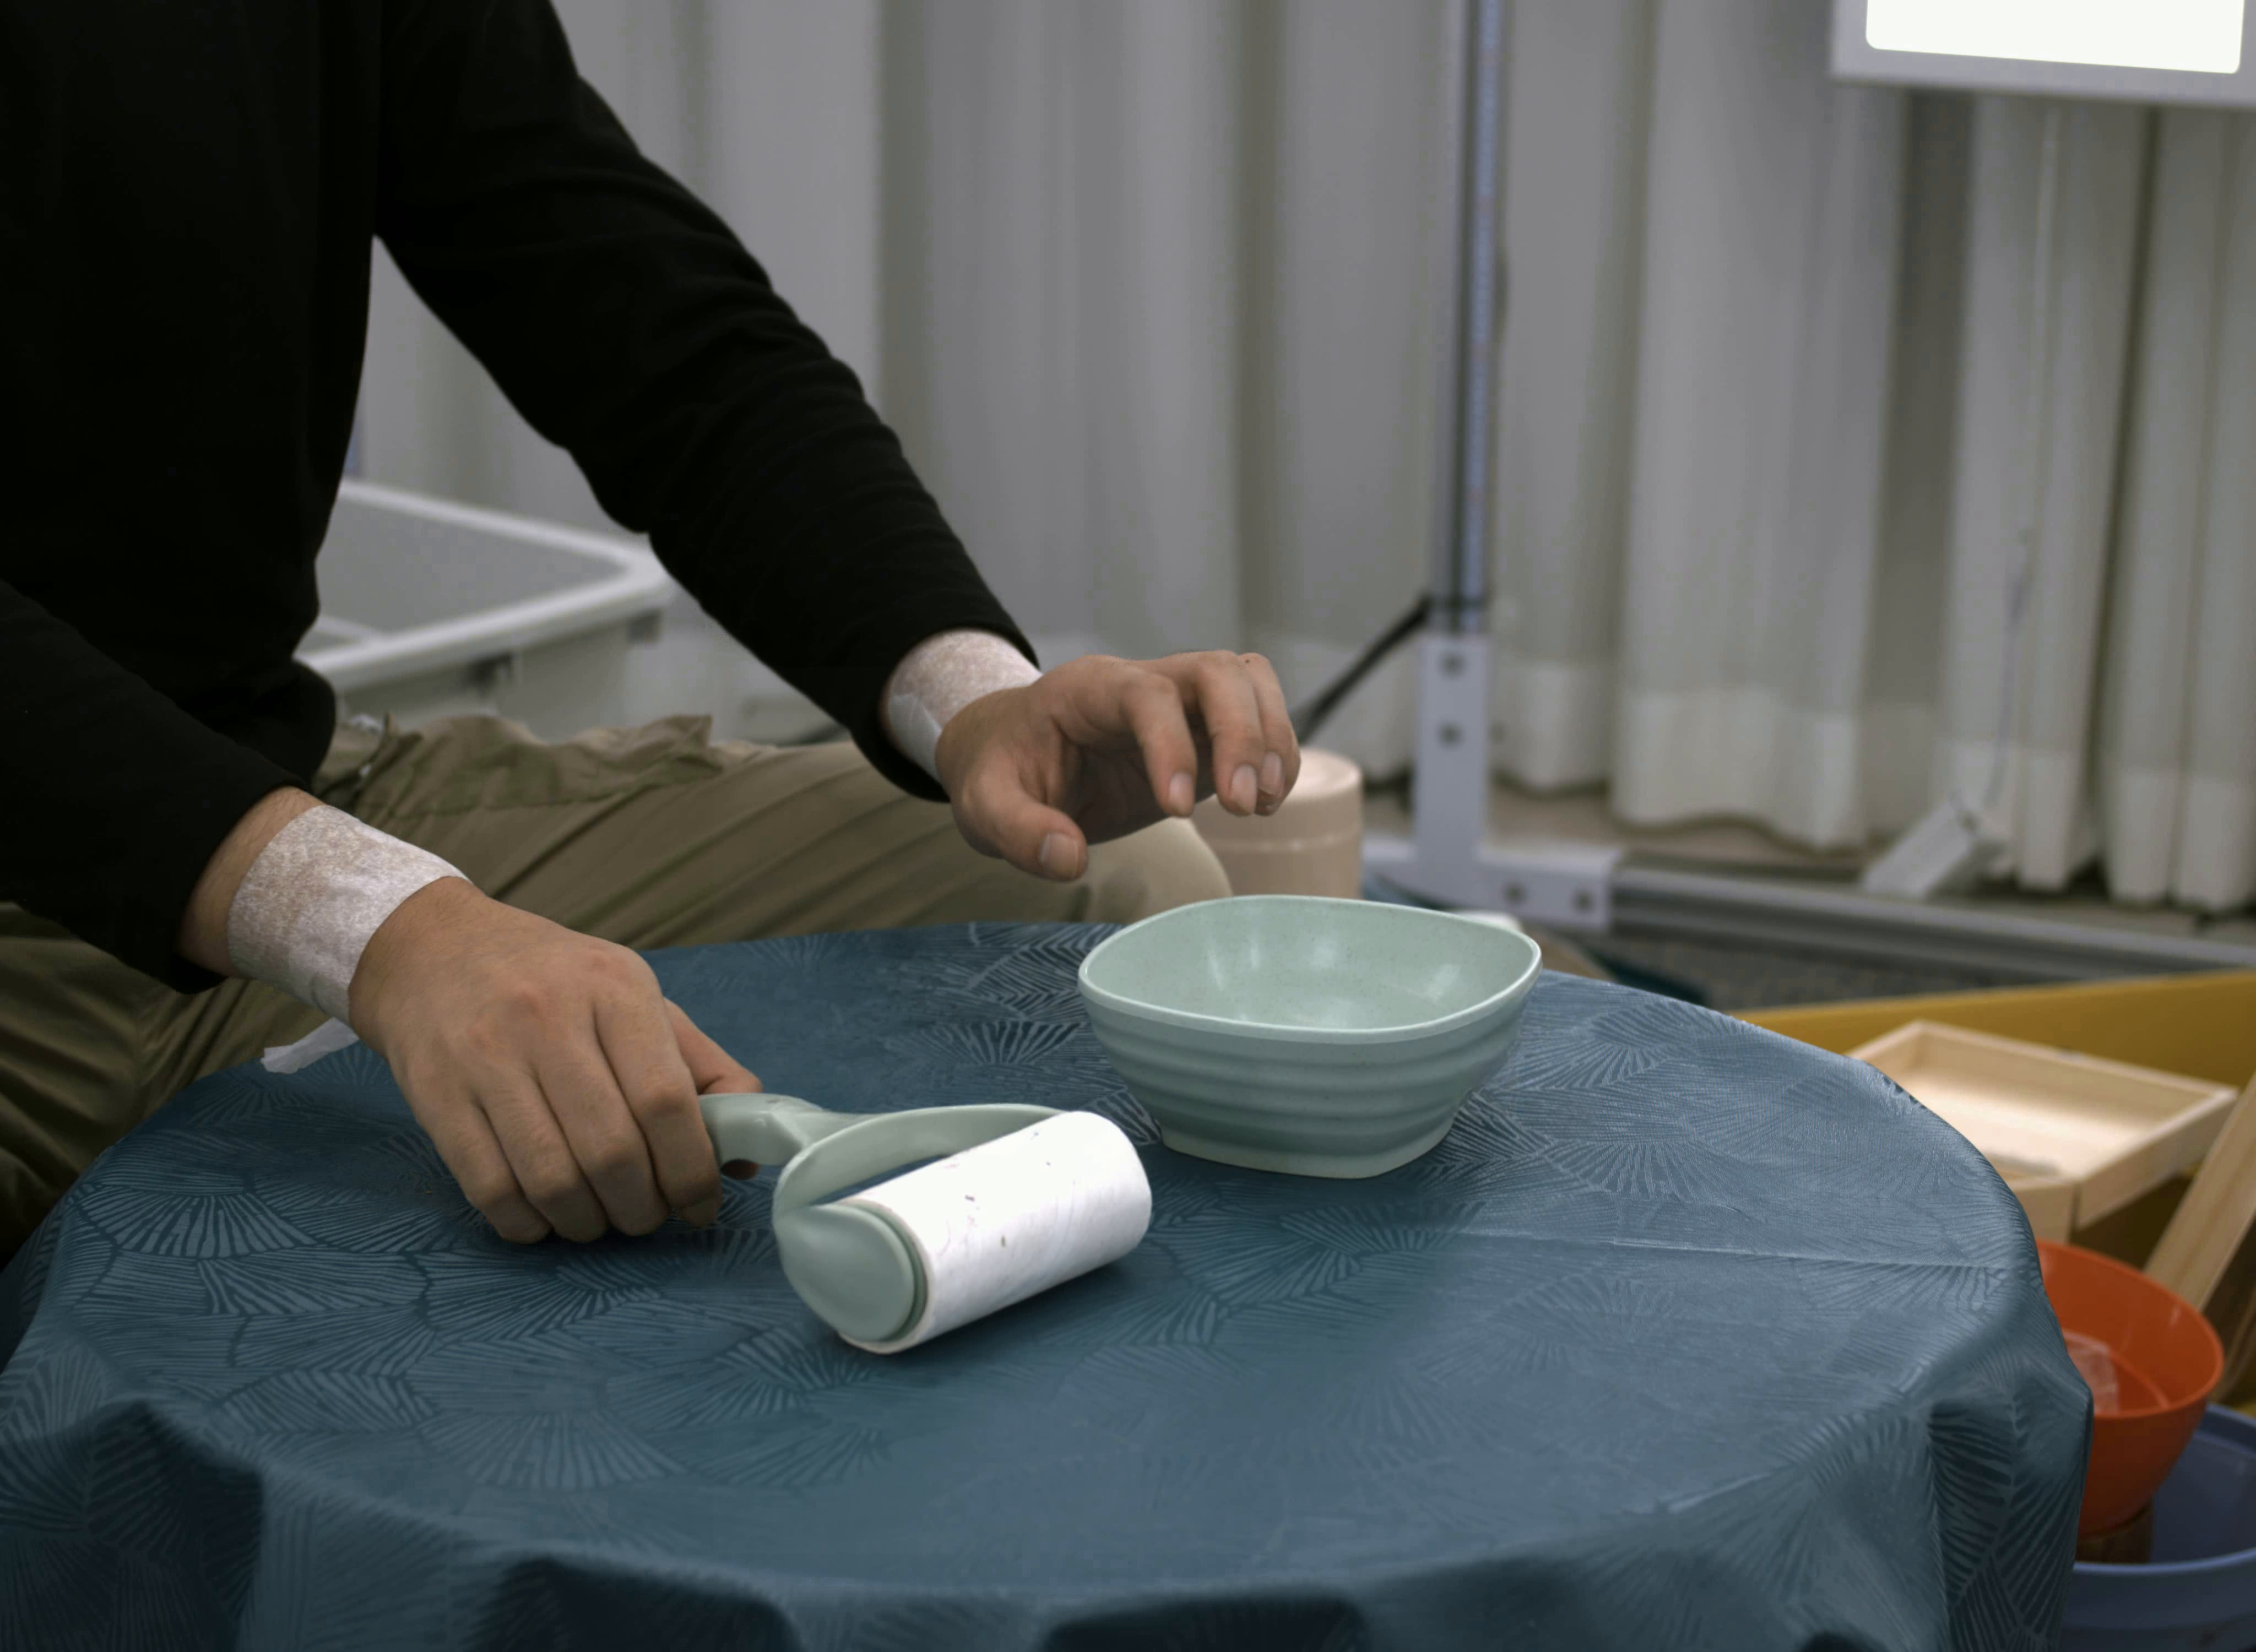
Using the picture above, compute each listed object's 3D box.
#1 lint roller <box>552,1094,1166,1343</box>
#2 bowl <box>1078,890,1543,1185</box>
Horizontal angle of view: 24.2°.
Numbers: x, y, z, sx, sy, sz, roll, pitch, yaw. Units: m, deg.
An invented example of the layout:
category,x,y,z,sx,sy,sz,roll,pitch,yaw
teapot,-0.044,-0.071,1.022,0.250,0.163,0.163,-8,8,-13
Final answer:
category,x,y,z,sx,sy,sz,roll,pitch,yaw
lint roller,-0.094,0.104,1.565,0.195,0.049,0.117,10,19,36
bowl,0.058,0.070,1.670,0.151,0.059,0.150,1,17,0
